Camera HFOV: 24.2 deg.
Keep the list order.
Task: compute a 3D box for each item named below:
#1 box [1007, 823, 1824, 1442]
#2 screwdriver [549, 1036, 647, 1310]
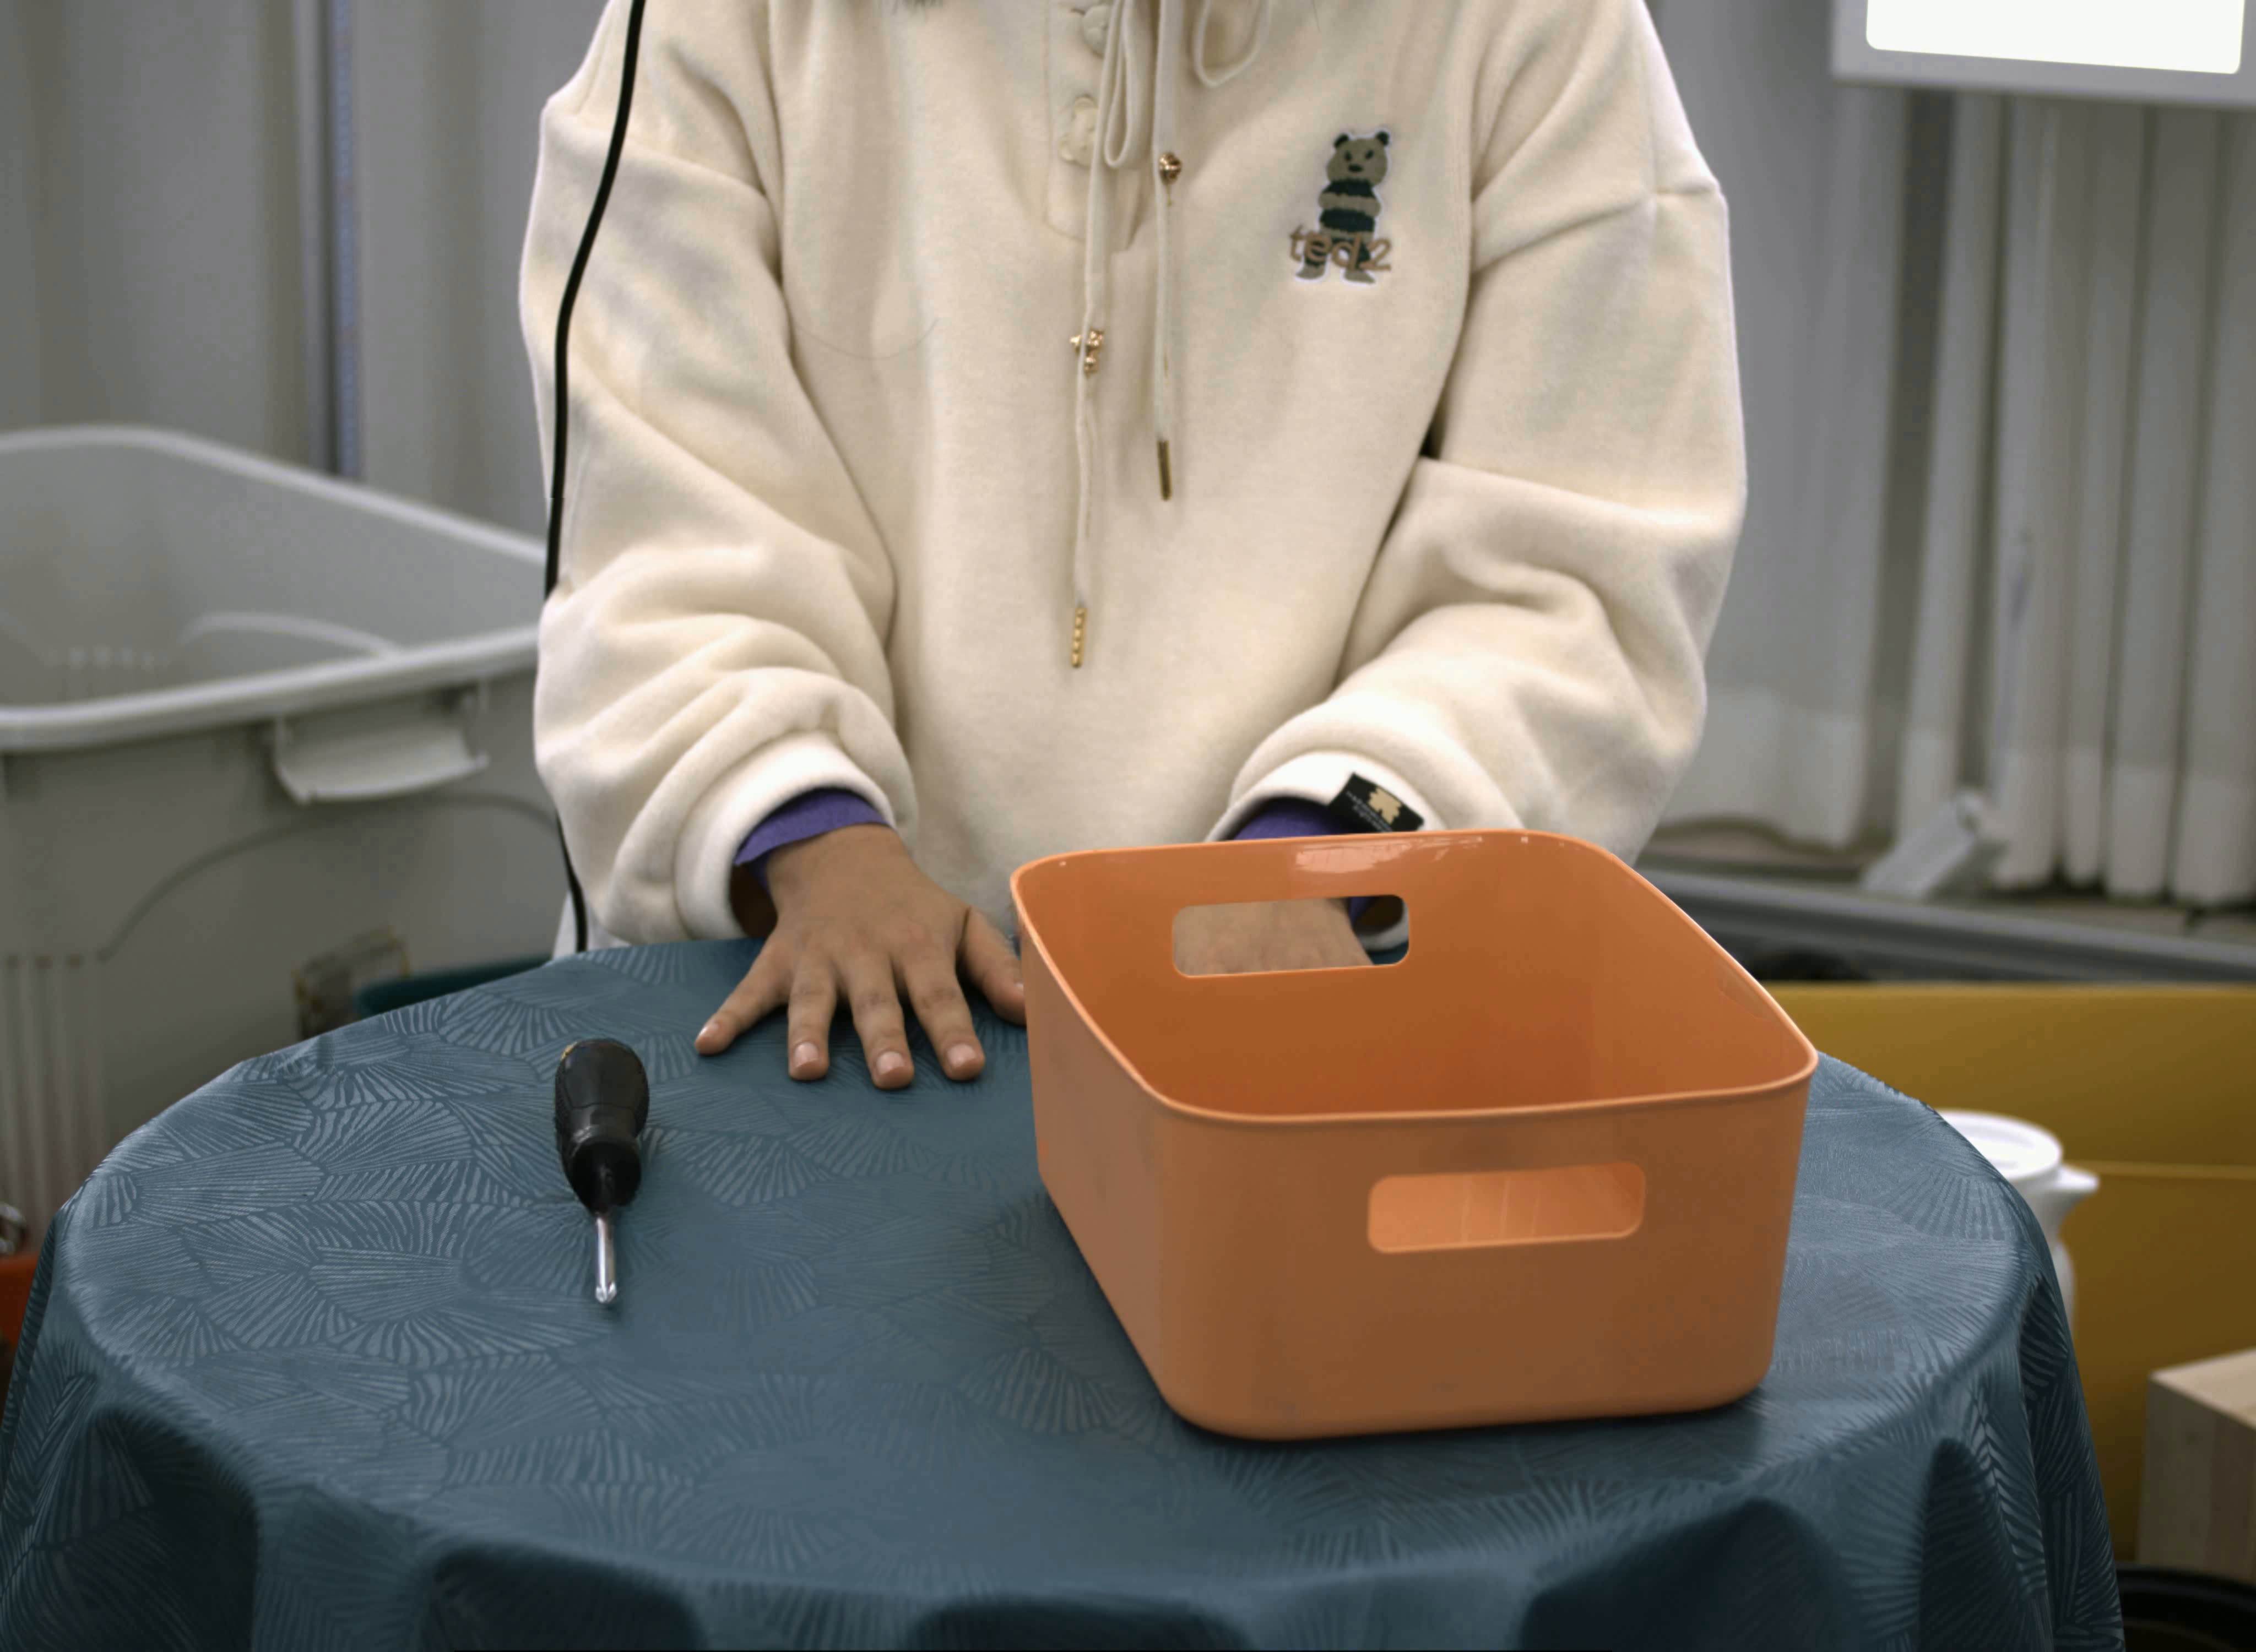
[{"bbox_3d":[0.078,0.085,1.526,0.199,0.103,0.270,-4,16,-12],"label":"box"},{"bbox_3d":[-0.164,0.107,1.597,0.031,0.032,0.195,0,19,-3],"label":"screwdriver"}]
